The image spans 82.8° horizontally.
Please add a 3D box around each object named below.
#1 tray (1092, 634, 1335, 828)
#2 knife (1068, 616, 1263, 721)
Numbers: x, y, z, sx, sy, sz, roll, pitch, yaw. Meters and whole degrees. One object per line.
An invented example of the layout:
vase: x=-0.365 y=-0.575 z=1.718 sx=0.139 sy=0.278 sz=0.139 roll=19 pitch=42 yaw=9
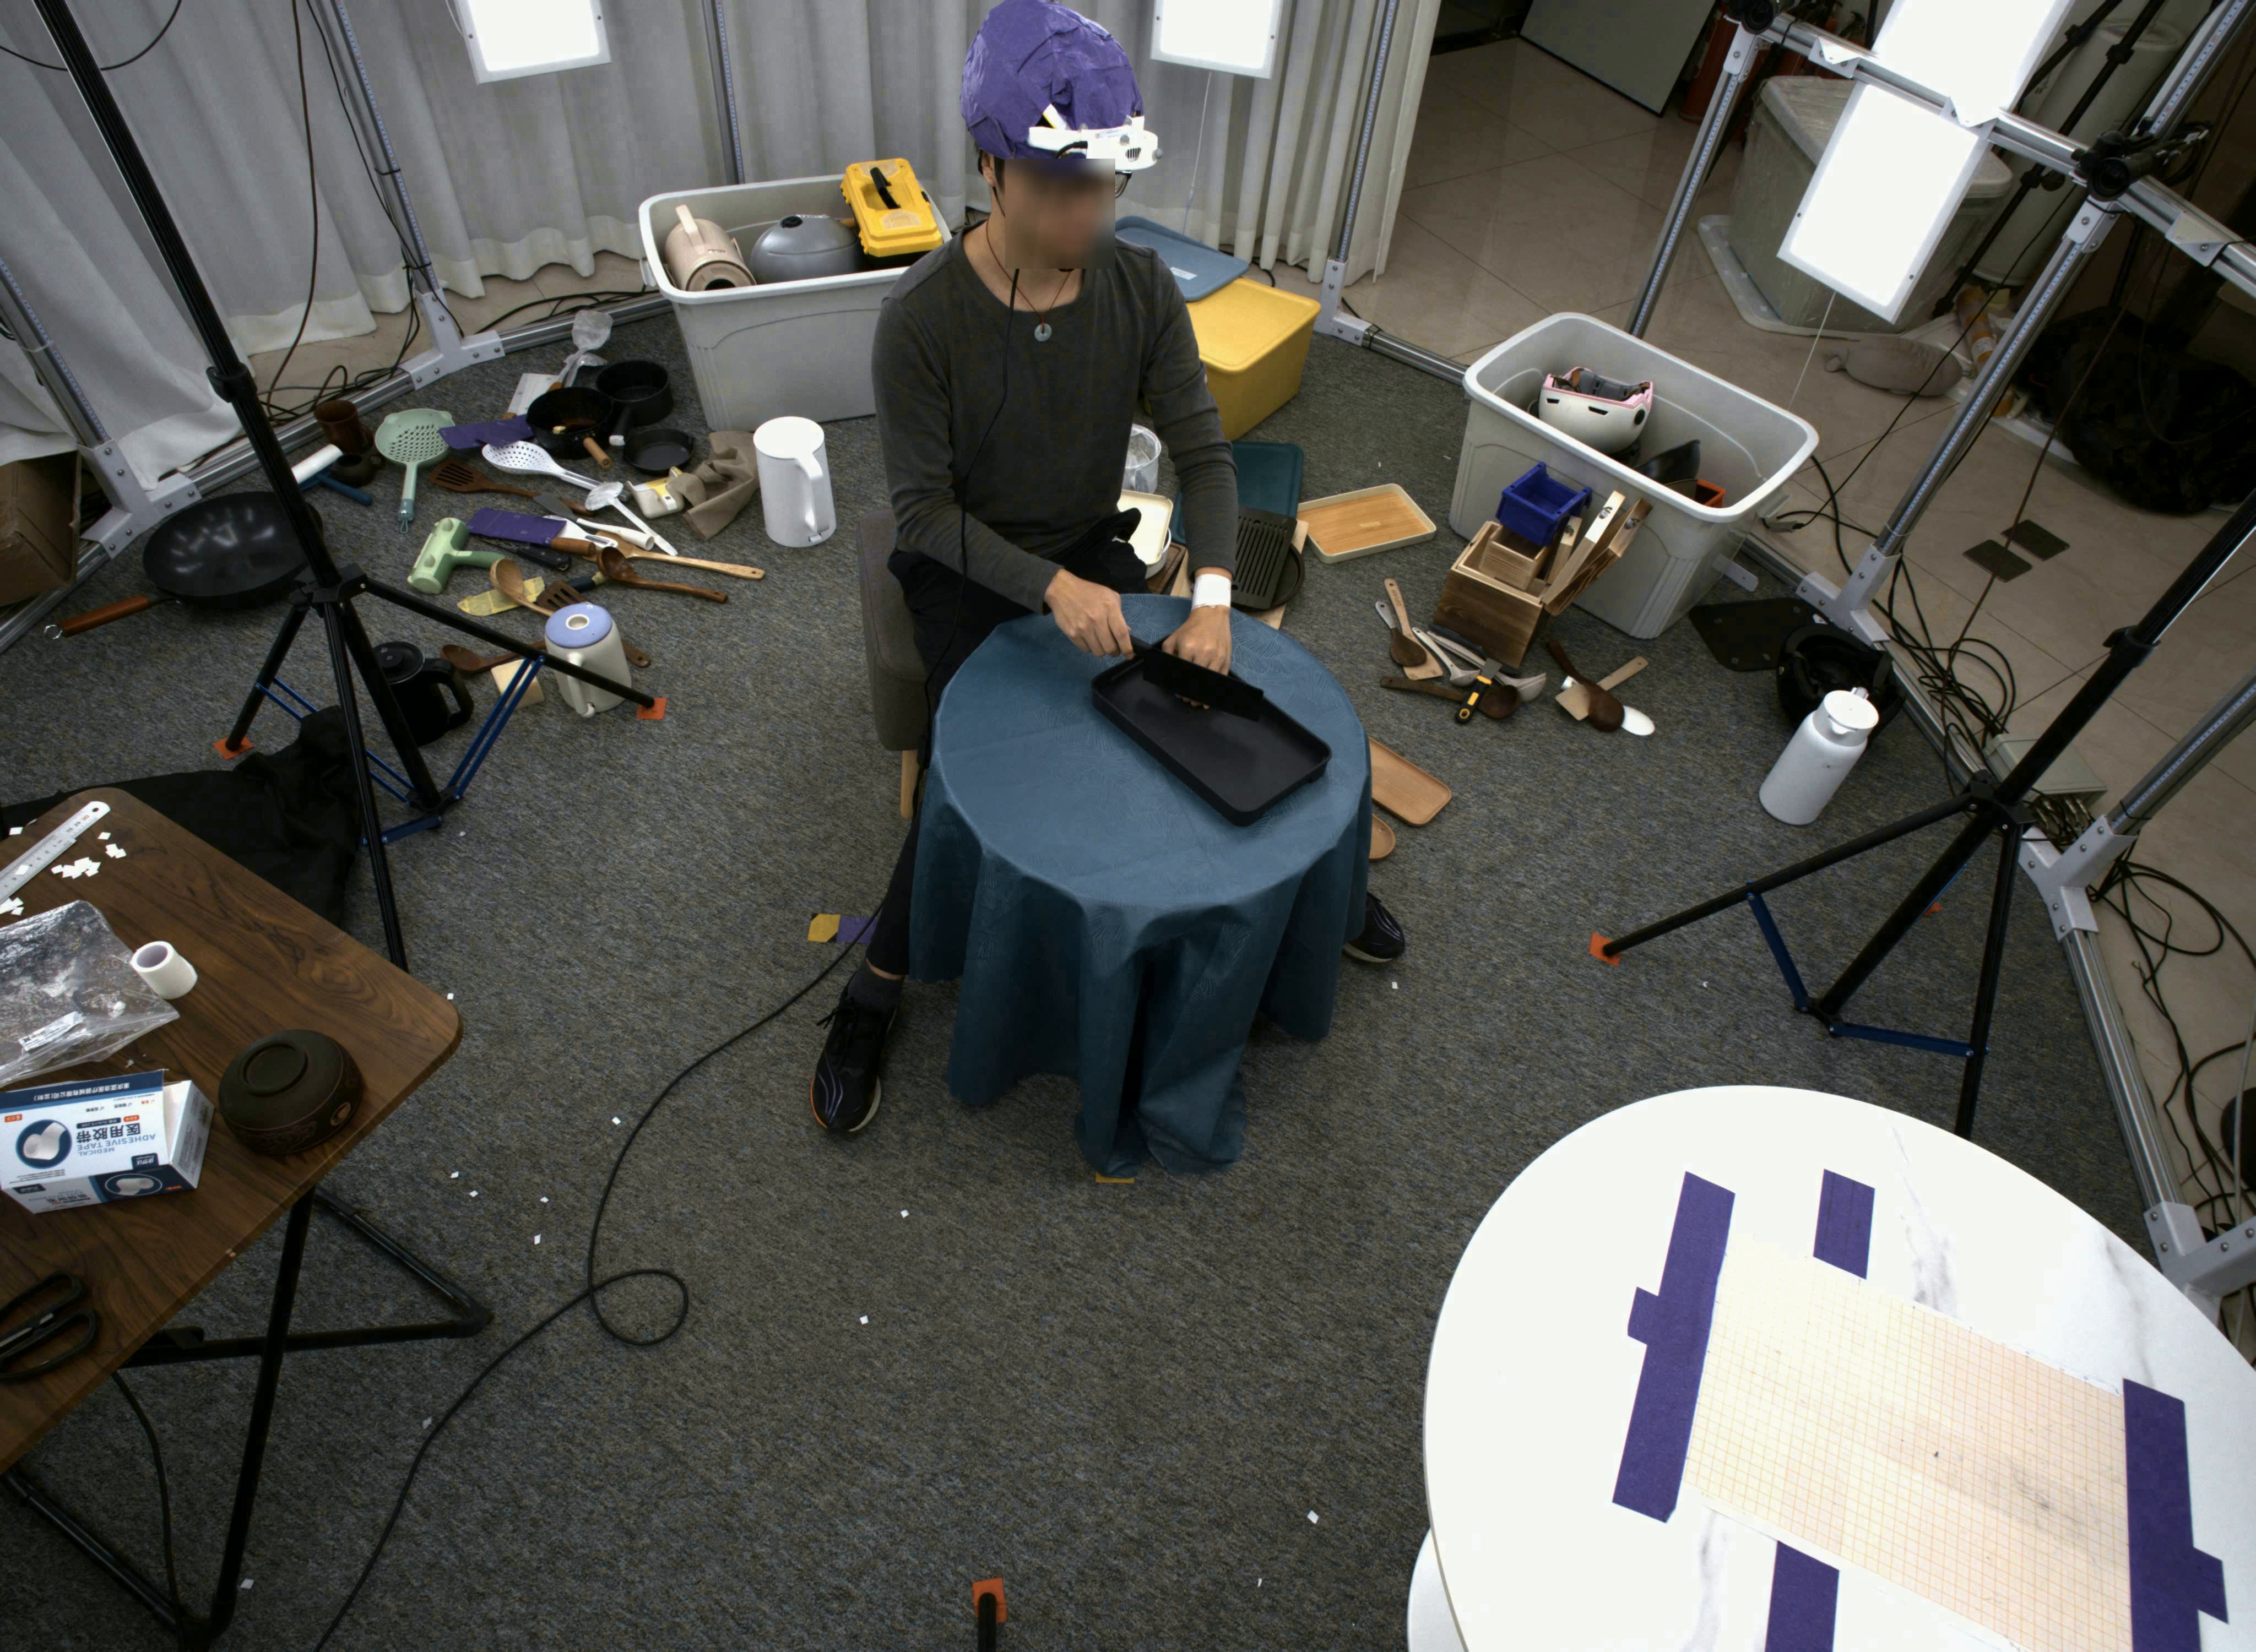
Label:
tray: x=0.114 y=-0.137 z=1.770 sx=0.186 sy=0.036 sz=0.323 roll=-34 pitch=59 yaw=-29
knife: x=0.050 y=-0.222 z=1.779 sx=0.304 sy=0.079 sz=0.021 roll=27 pitch=51 yaw=15
